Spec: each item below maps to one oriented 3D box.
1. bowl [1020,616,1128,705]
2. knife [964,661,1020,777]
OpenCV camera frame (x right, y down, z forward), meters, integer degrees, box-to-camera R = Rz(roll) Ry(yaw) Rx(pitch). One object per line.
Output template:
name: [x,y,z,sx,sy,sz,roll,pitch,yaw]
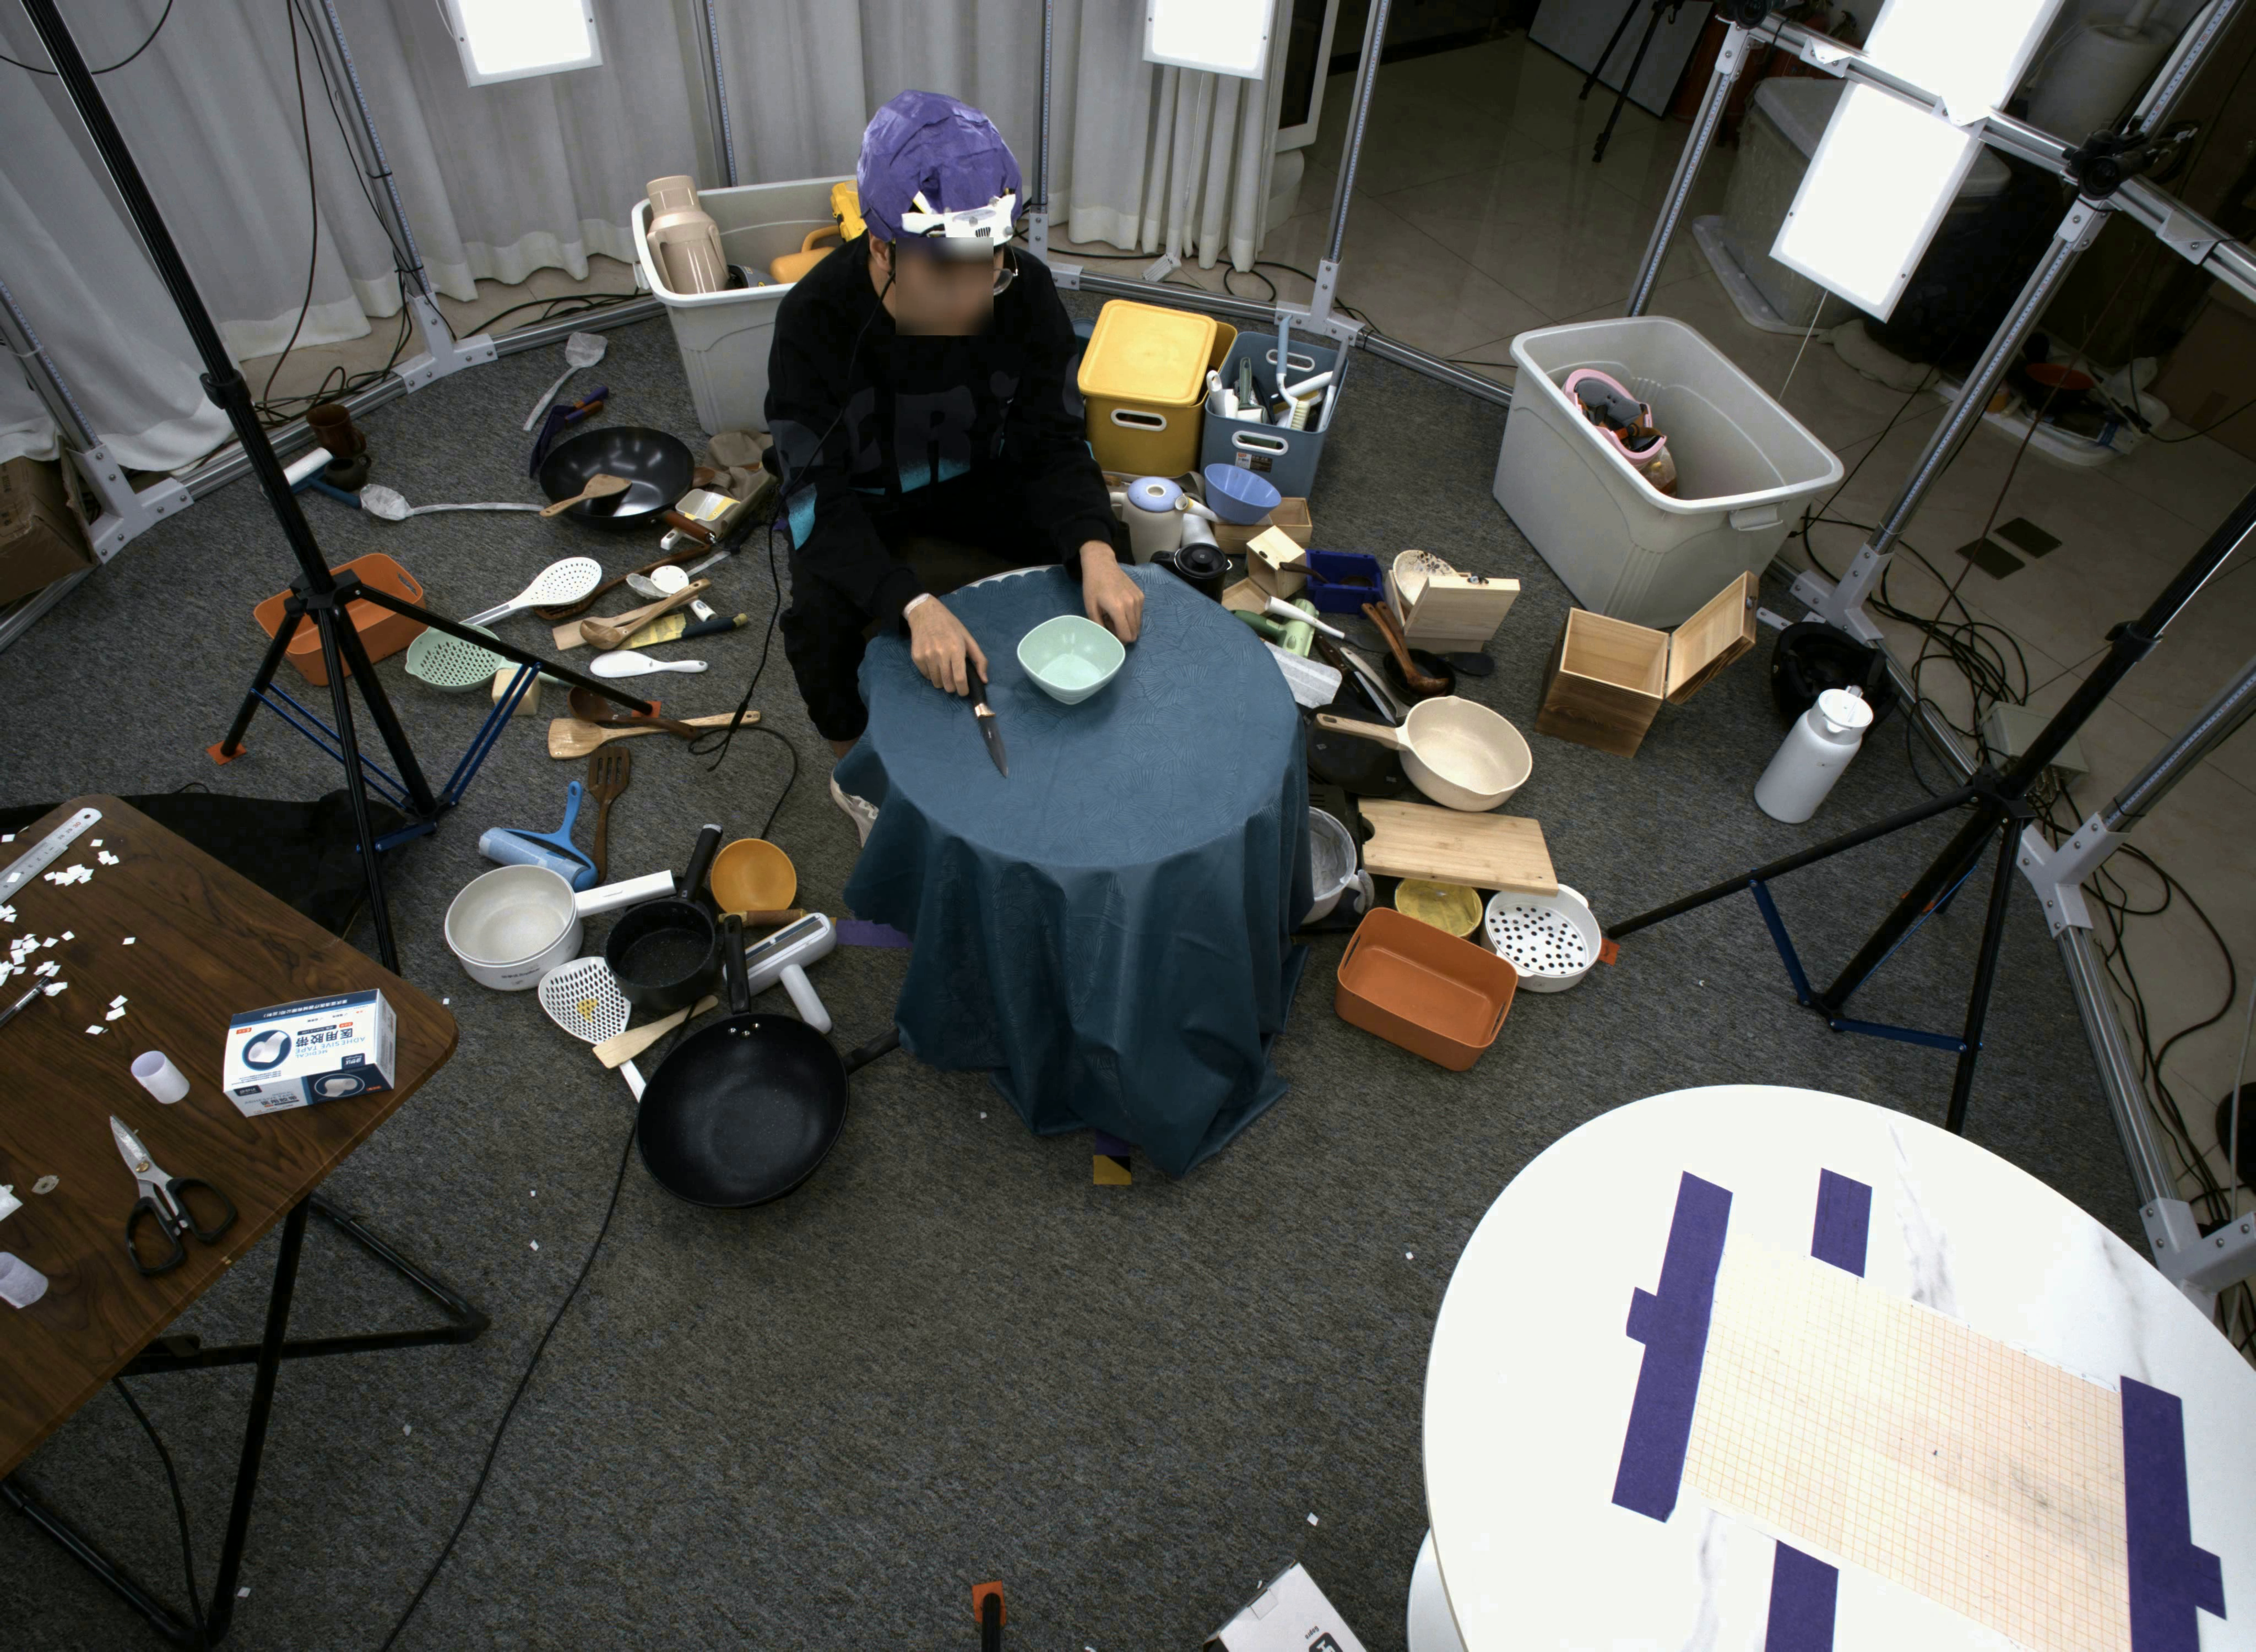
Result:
bowl: [-0.077,-0.227,1.825,0.151,0.057,0.155,1,50,-2]
knife: [-0.190,-0.150,1.779,0.026,0.017,0.231,-9,51,-20]
